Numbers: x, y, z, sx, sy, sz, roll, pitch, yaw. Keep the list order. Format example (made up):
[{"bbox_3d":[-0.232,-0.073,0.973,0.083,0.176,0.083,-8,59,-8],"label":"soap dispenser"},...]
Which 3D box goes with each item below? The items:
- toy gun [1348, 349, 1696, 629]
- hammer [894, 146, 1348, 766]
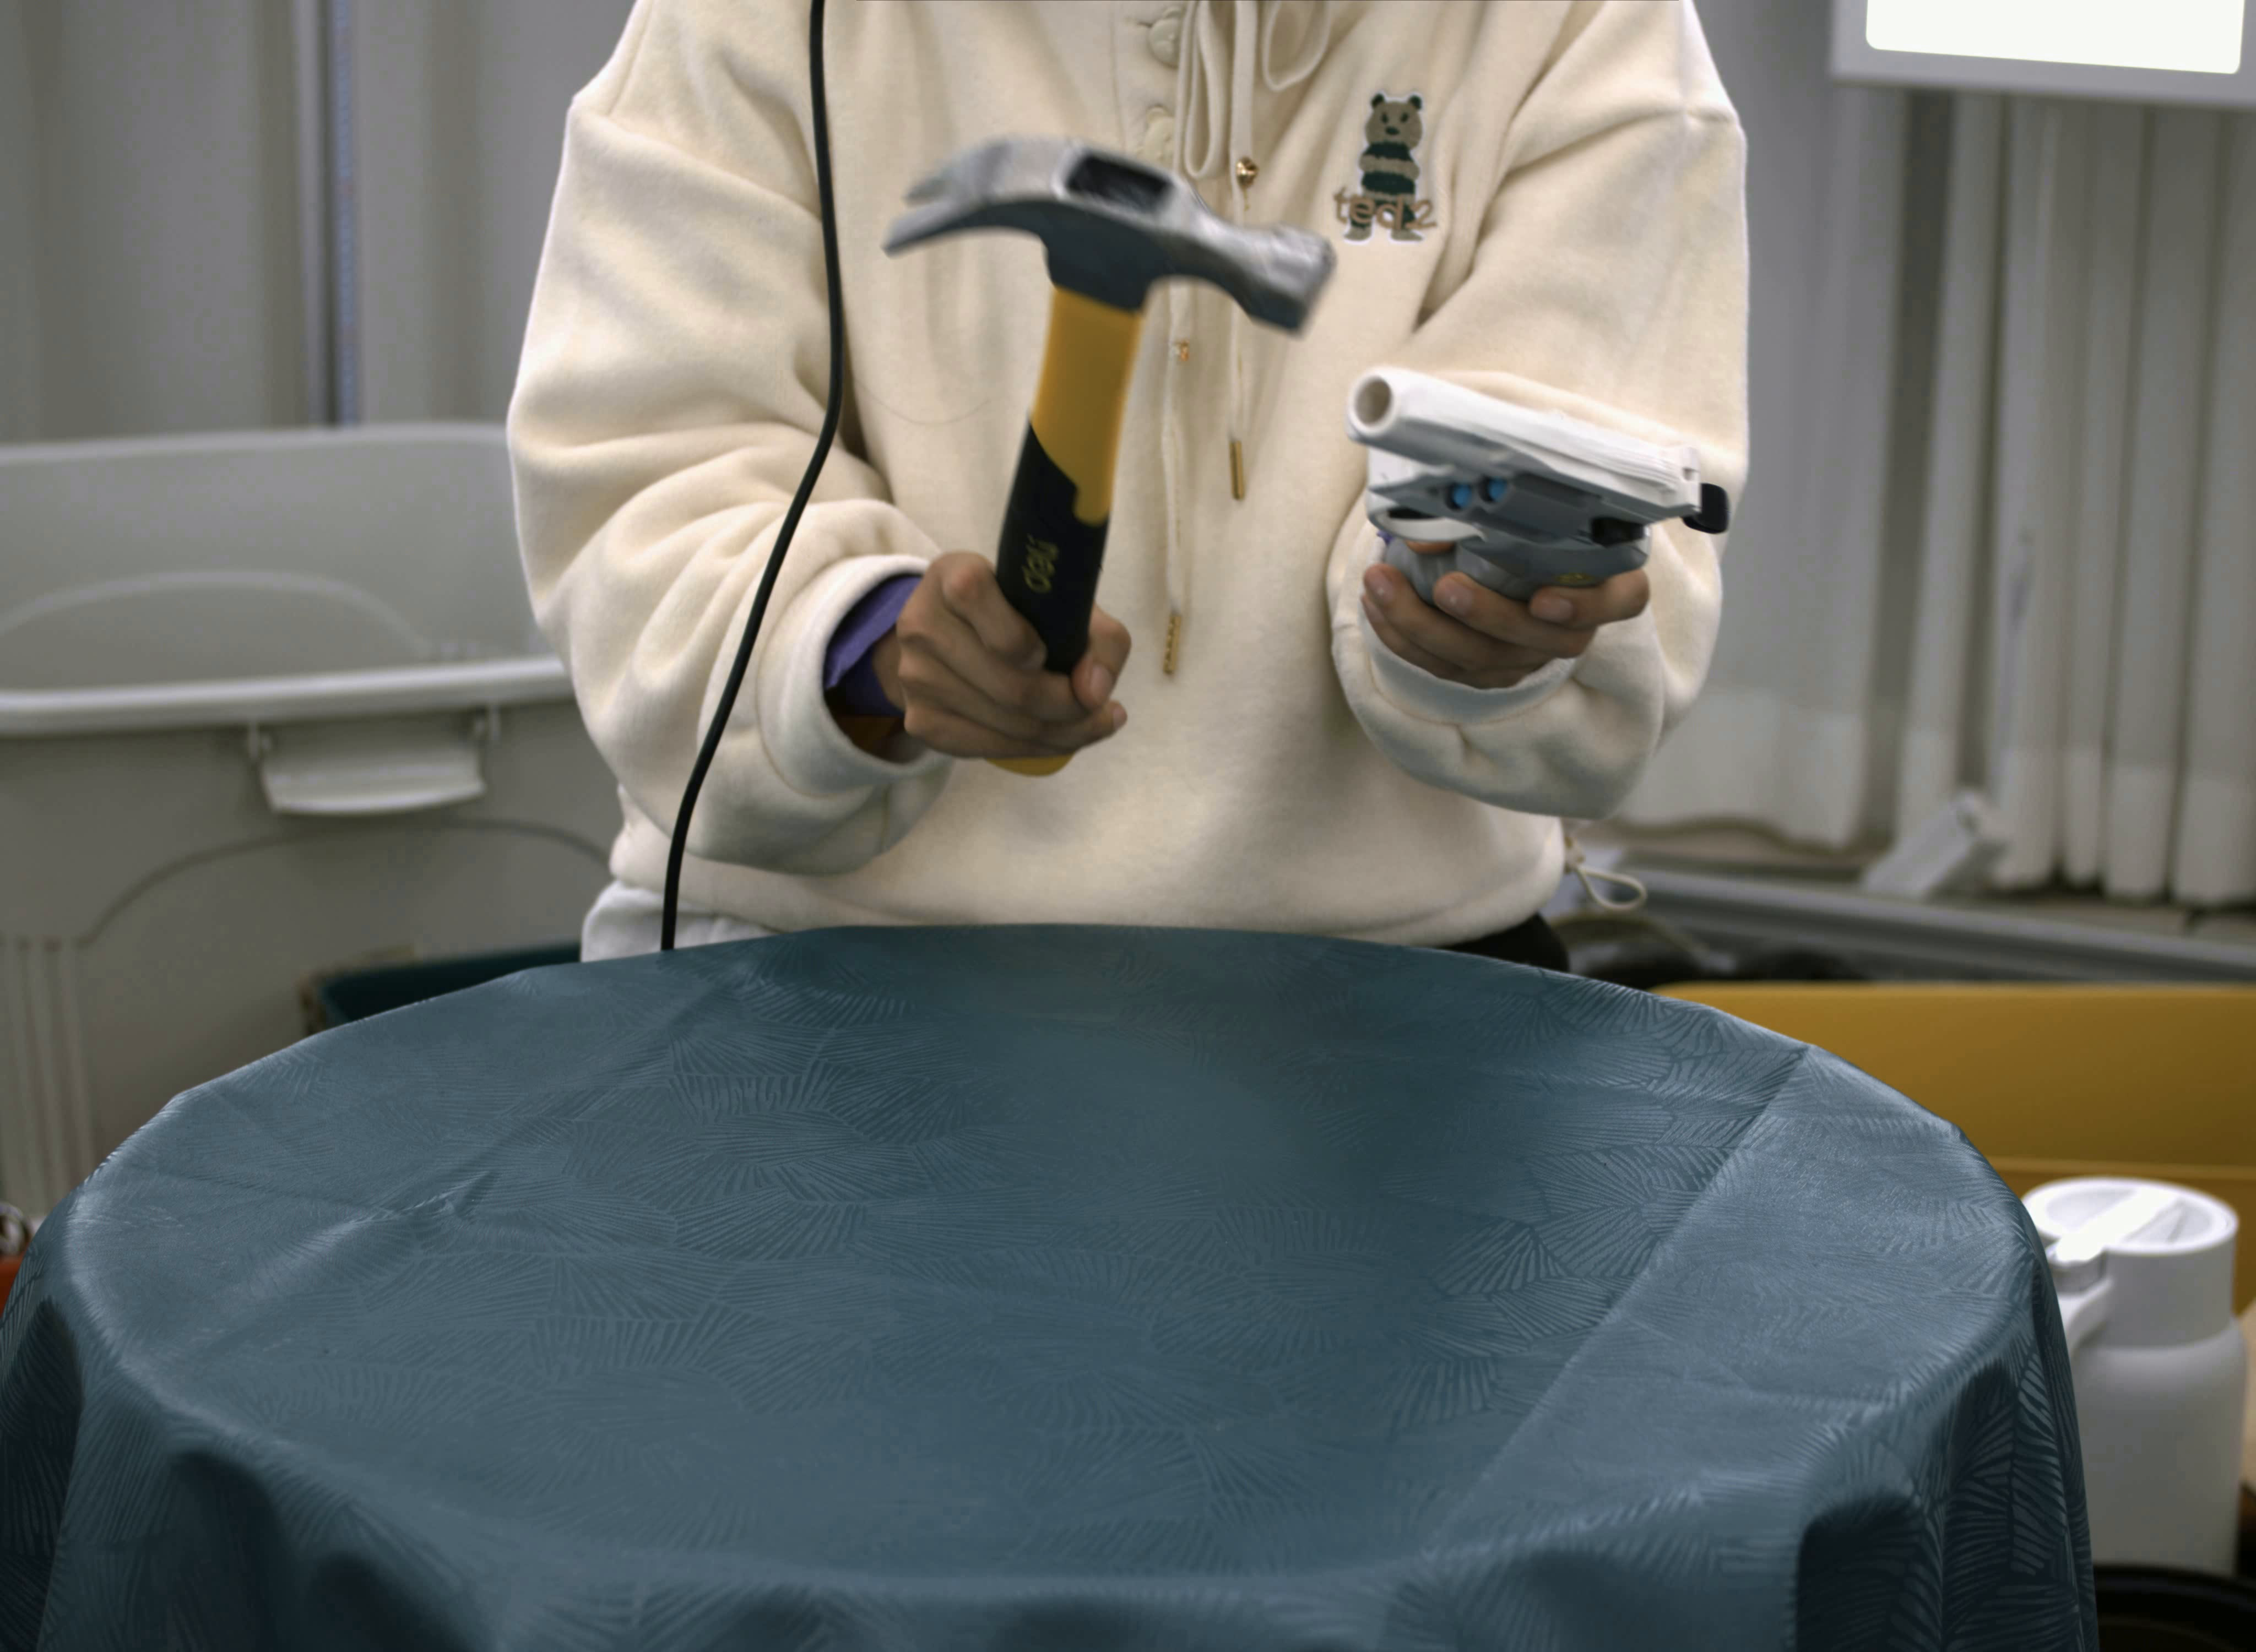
[{"bbox_3d":[0.097,-0.102,1.584,0.140,0.039,0.211,-7,-14,37],"label":"toy gun"},{"bbox_3d":[-0.017,-0.109,1.682,0.131,0.341,0.032,19,63,3],"label":"hammer"}]
